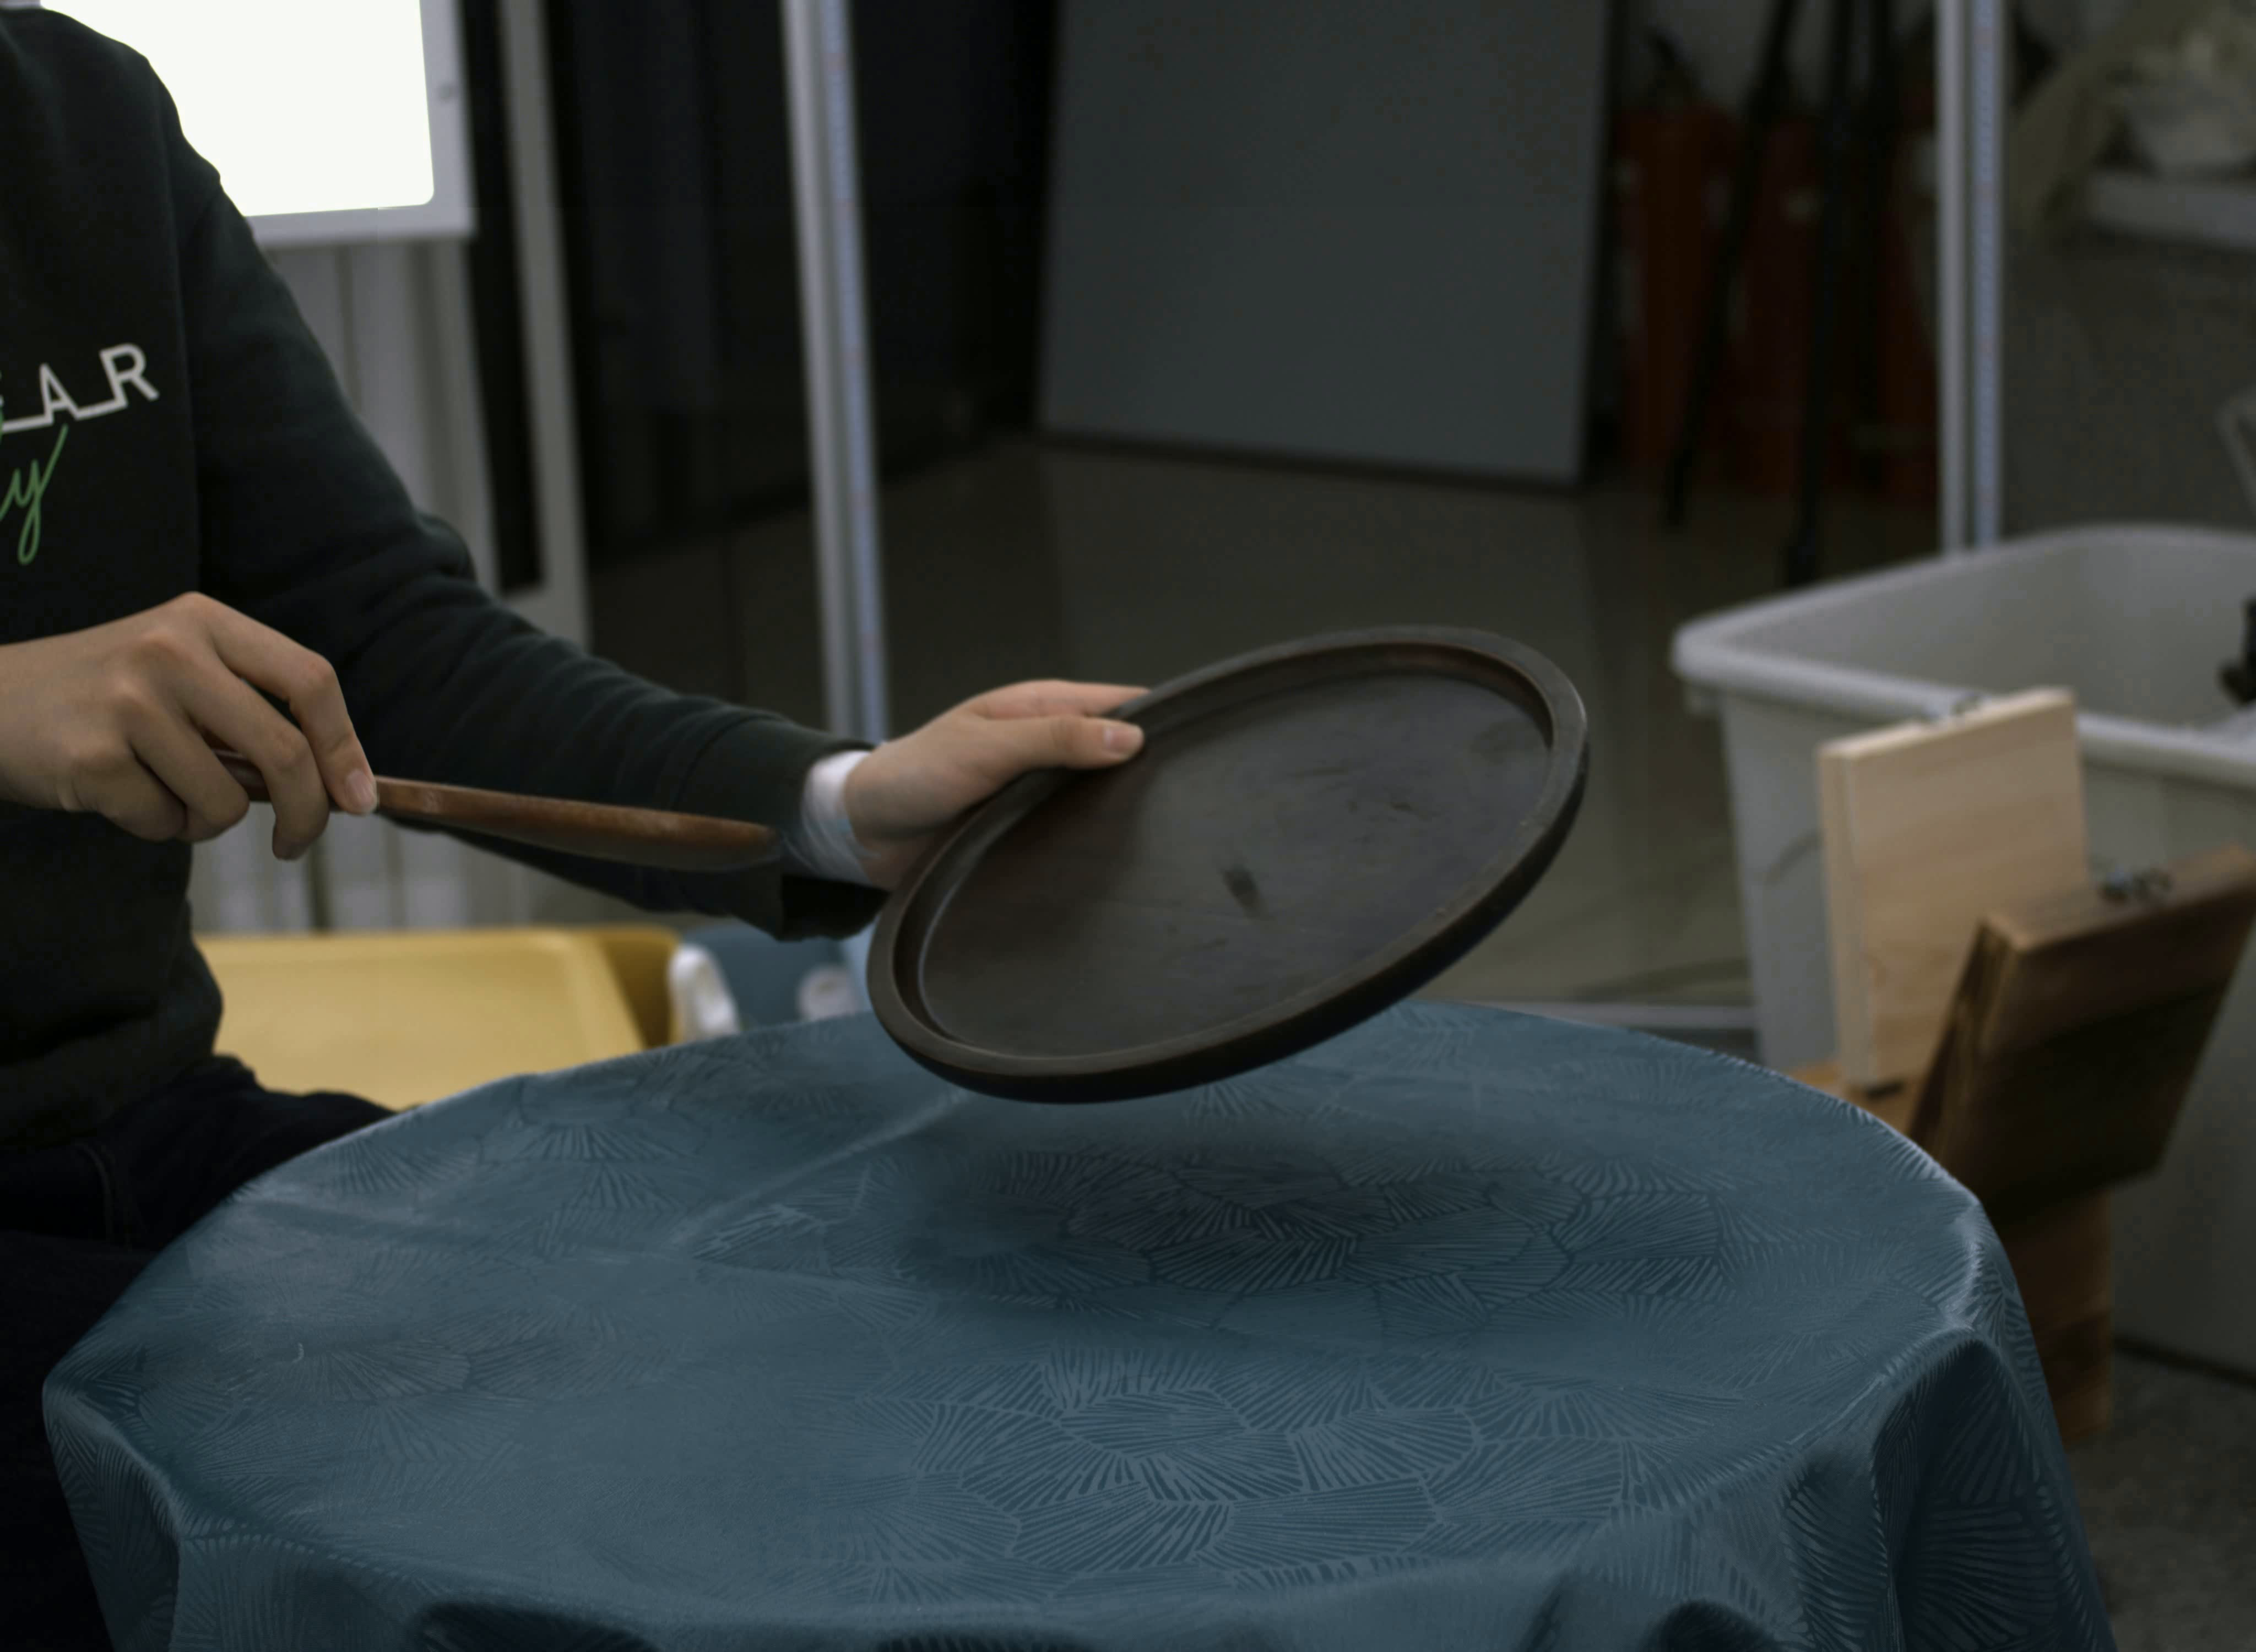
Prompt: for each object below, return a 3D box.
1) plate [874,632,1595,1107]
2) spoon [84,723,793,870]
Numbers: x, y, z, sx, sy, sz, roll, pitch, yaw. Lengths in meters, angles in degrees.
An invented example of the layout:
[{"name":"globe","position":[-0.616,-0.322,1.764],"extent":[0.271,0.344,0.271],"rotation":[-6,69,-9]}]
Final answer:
[{"name":"plate","position":[0.035,0.013,1.751],"extent":[0.253,0.029,0.256],"rotation":[-20,26,9]},{"name":"spoon","position":[-0.207,-0.007,1.627],"extent":[0.213,0.017,0.075],"rotation":[9,-1,1]}]
